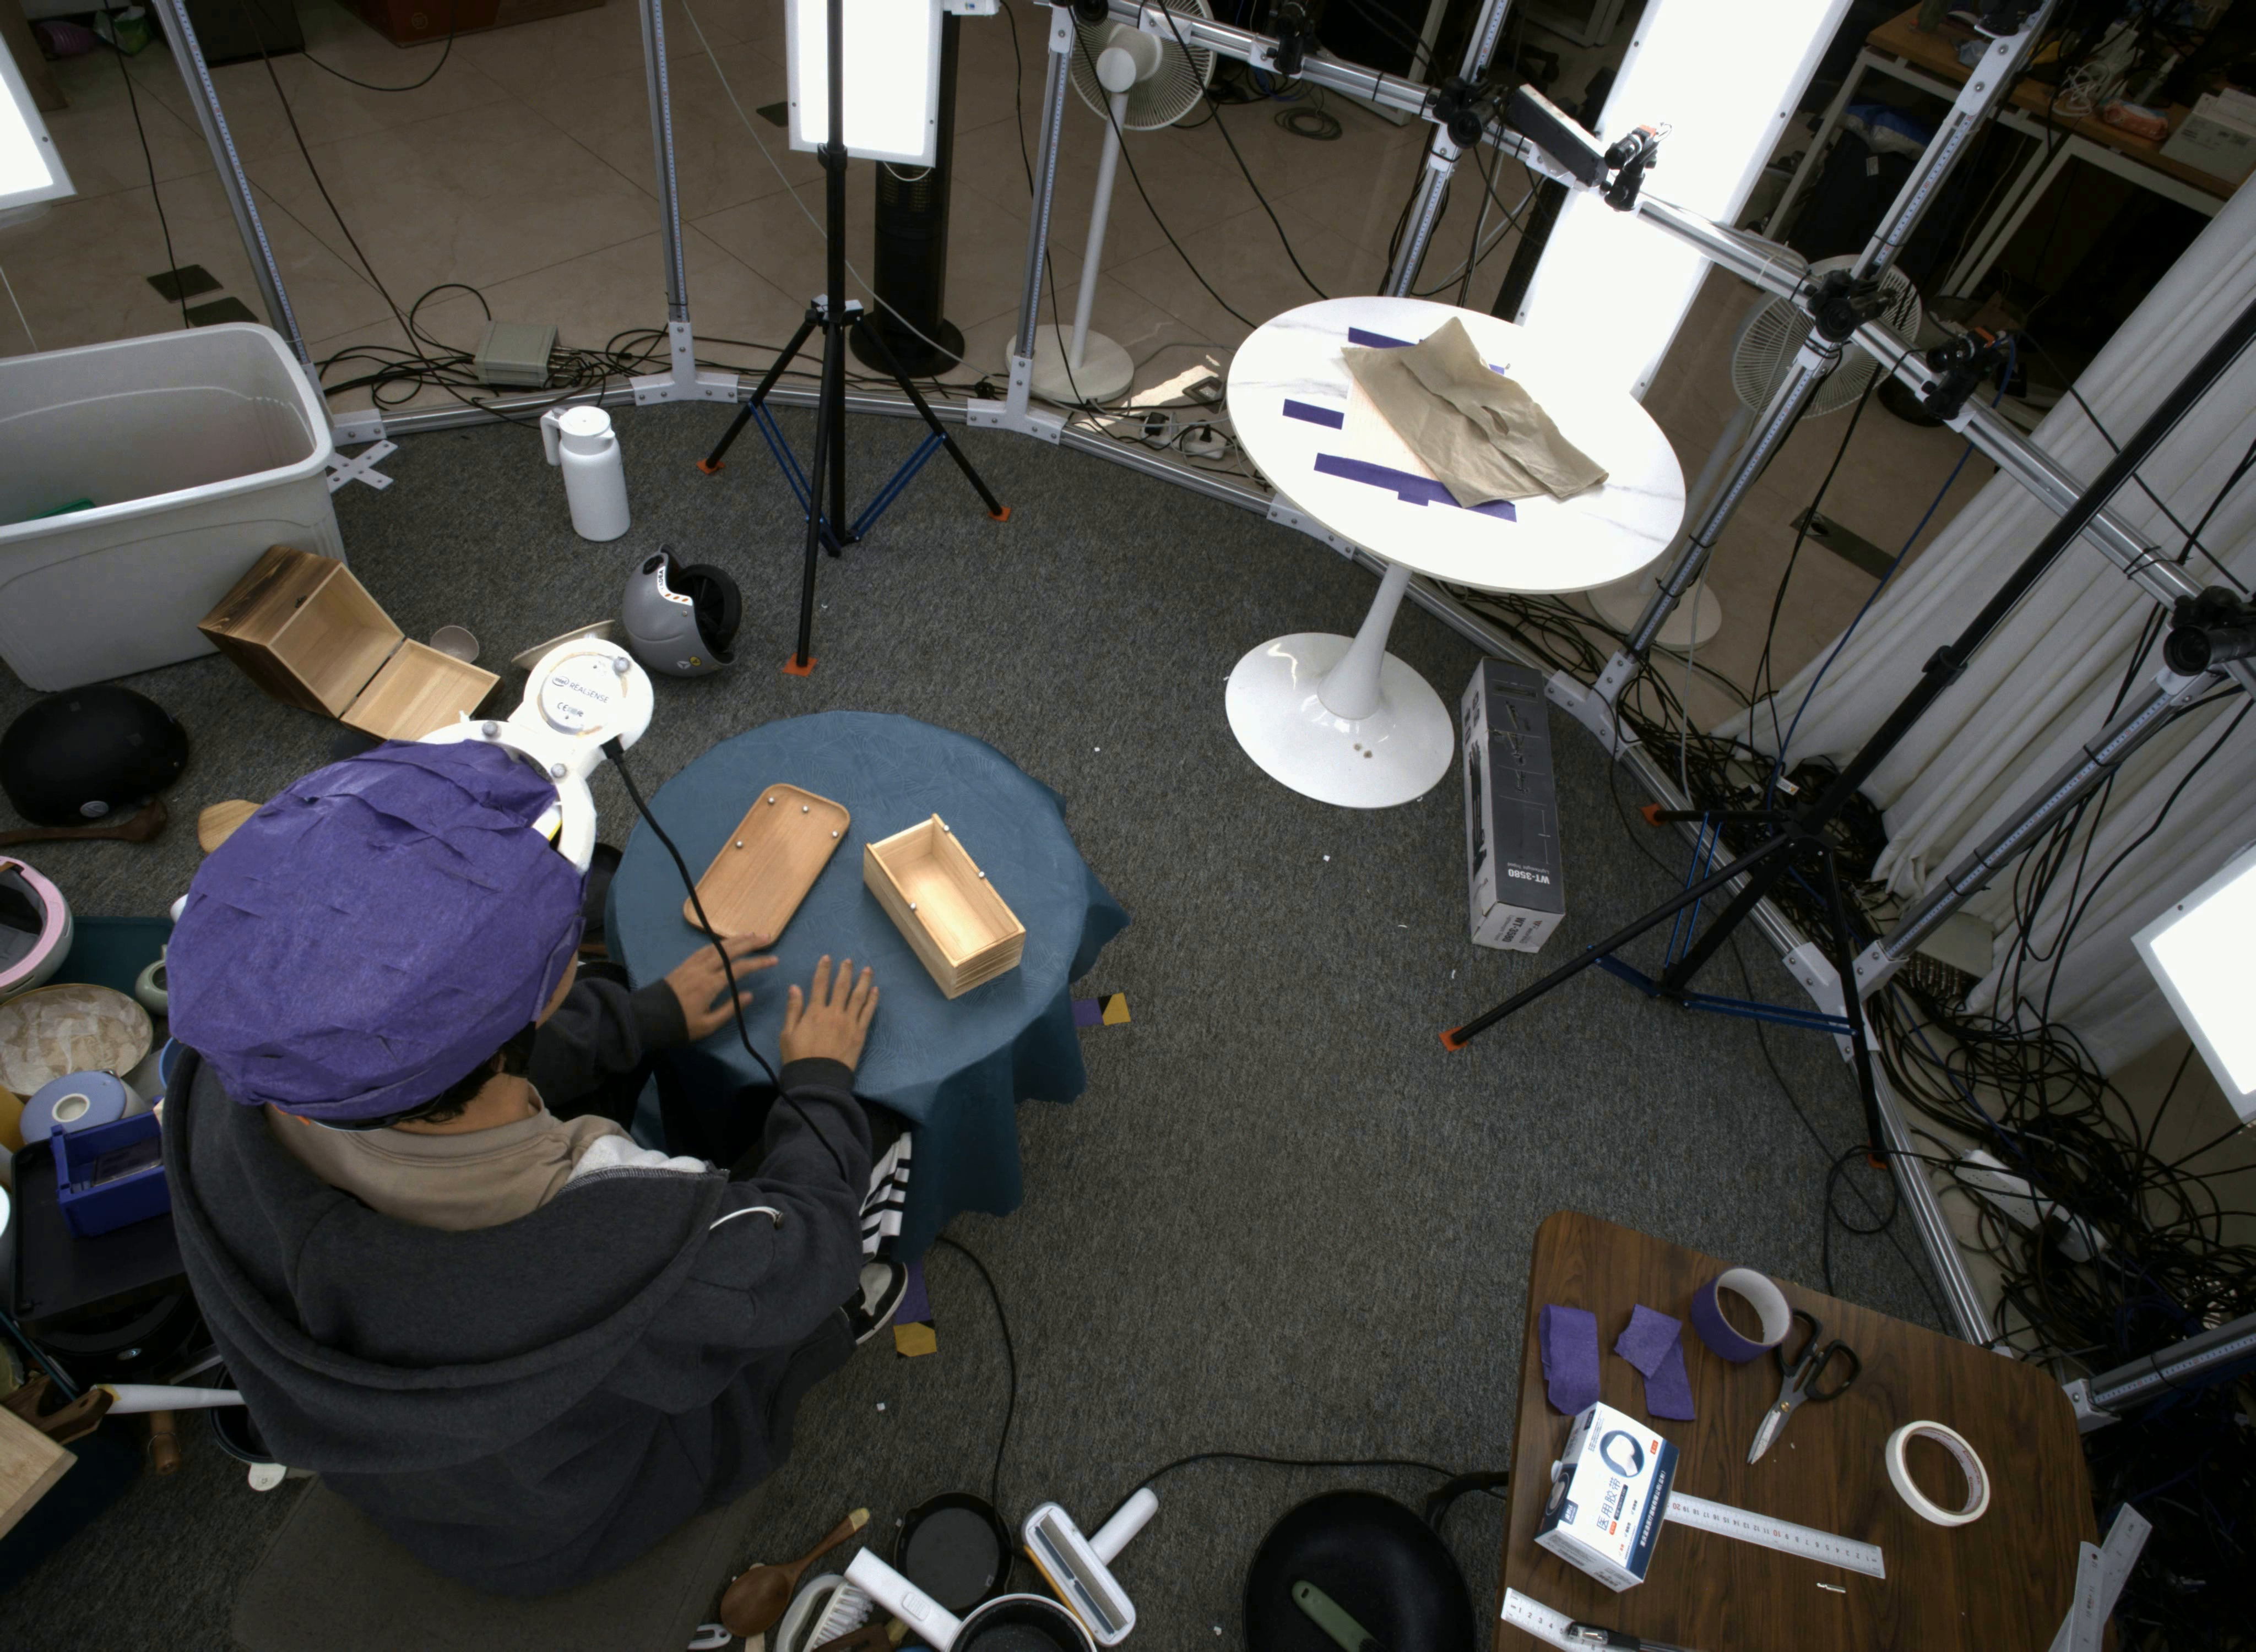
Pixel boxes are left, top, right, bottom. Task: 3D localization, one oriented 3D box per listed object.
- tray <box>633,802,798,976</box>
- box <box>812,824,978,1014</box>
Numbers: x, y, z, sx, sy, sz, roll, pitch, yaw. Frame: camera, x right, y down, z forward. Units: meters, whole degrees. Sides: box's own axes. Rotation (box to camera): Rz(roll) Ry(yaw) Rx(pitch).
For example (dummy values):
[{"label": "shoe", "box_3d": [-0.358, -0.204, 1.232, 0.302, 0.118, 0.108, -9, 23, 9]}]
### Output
[{"label": "tray", "box_3d": [-0.520, 0.075, 1.637, 0.129, 0.023, 0.248, 18, 52, 3]}, {"label": "box", "box_3d": [-0.292, 0.113, 1.628, 0.108, 0.082, 0.206, -31, 66, -30]}]
